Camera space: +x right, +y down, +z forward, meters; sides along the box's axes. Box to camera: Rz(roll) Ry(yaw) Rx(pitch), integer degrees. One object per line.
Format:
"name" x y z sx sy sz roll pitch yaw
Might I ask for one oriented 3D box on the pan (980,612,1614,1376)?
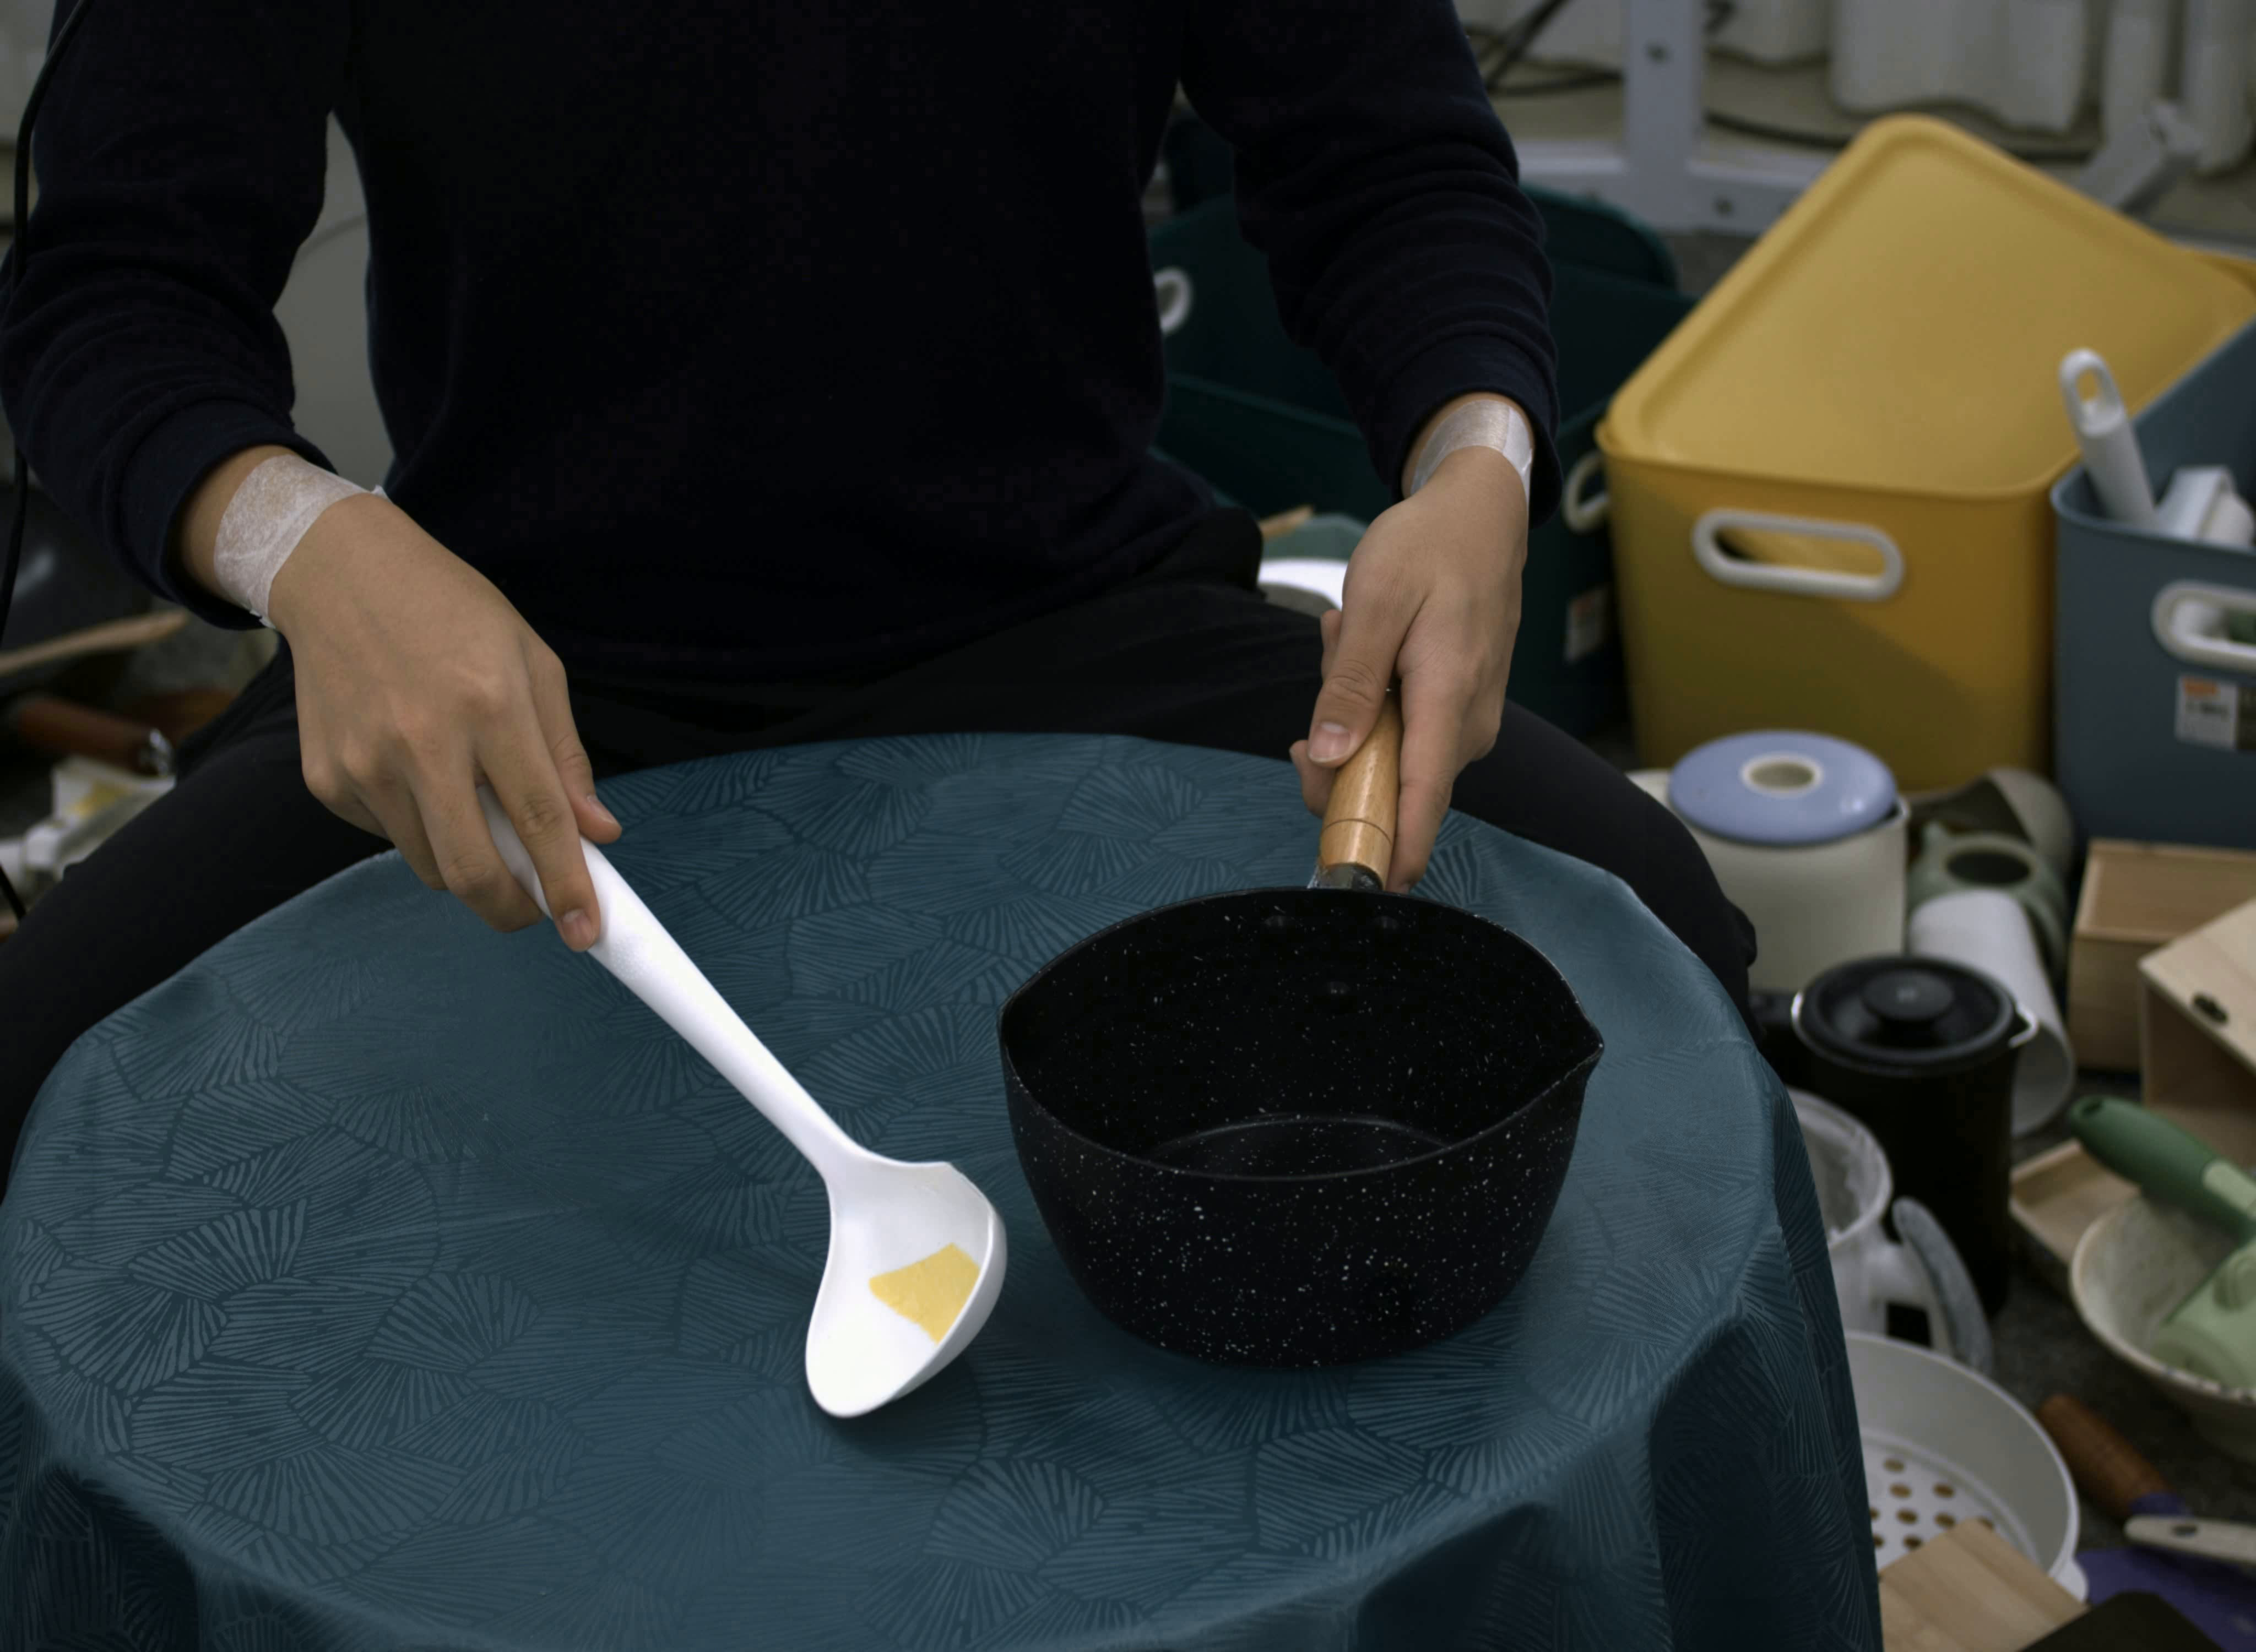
"pan" 0.066 0.052 1.874 0.206 0.107 0.349 1 29 10

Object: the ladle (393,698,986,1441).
"ladle" -0.147 0.071 1.794 0.294 0.089 0.070 47 24 19
